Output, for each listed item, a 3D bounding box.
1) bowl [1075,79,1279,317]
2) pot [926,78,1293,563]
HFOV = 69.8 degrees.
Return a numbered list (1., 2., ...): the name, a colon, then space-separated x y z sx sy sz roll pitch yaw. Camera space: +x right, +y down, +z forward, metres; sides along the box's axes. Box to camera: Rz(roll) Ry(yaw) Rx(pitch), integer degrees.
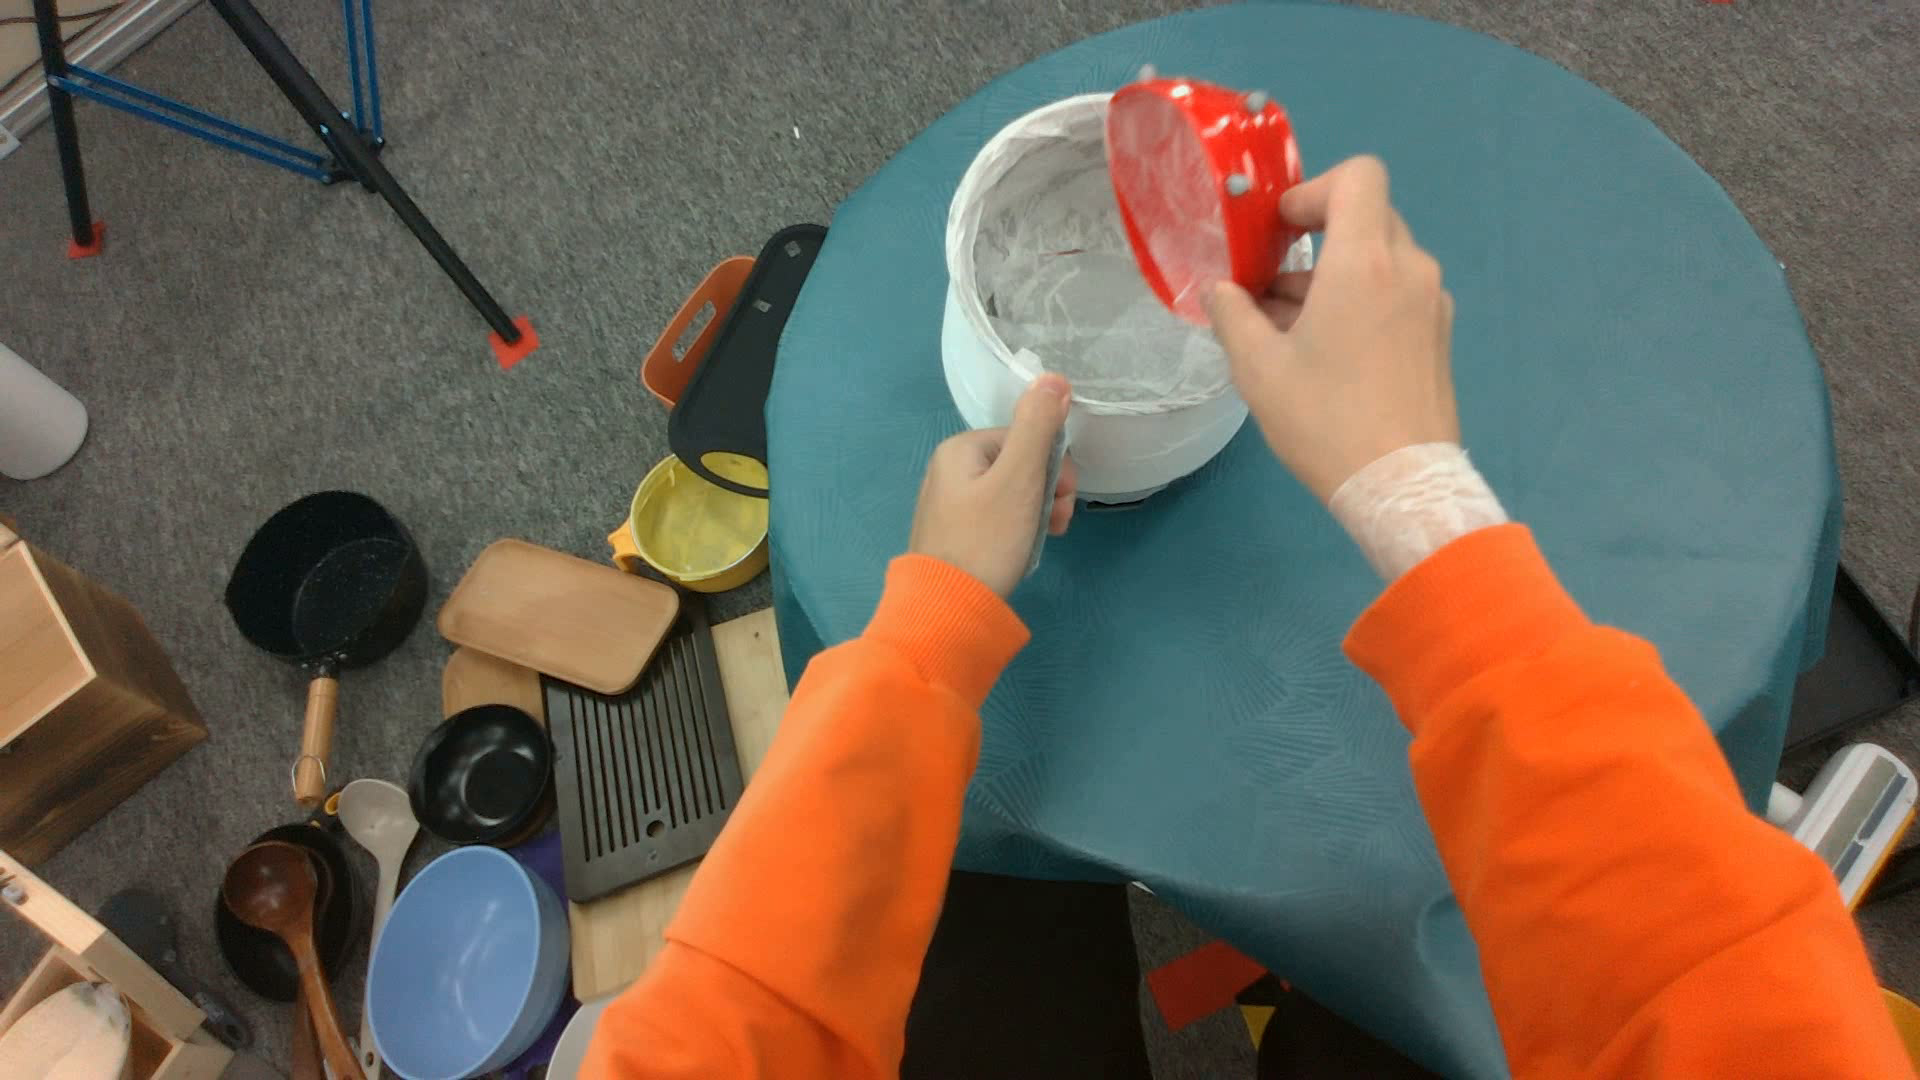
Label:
1. bowl: 0.104 -0.162 0.629 0.051 0.118 0.119 -26 63 -13
2. pot: 0.060 -0.104 0.714 0.178 0.136 0.234 21 70 5
